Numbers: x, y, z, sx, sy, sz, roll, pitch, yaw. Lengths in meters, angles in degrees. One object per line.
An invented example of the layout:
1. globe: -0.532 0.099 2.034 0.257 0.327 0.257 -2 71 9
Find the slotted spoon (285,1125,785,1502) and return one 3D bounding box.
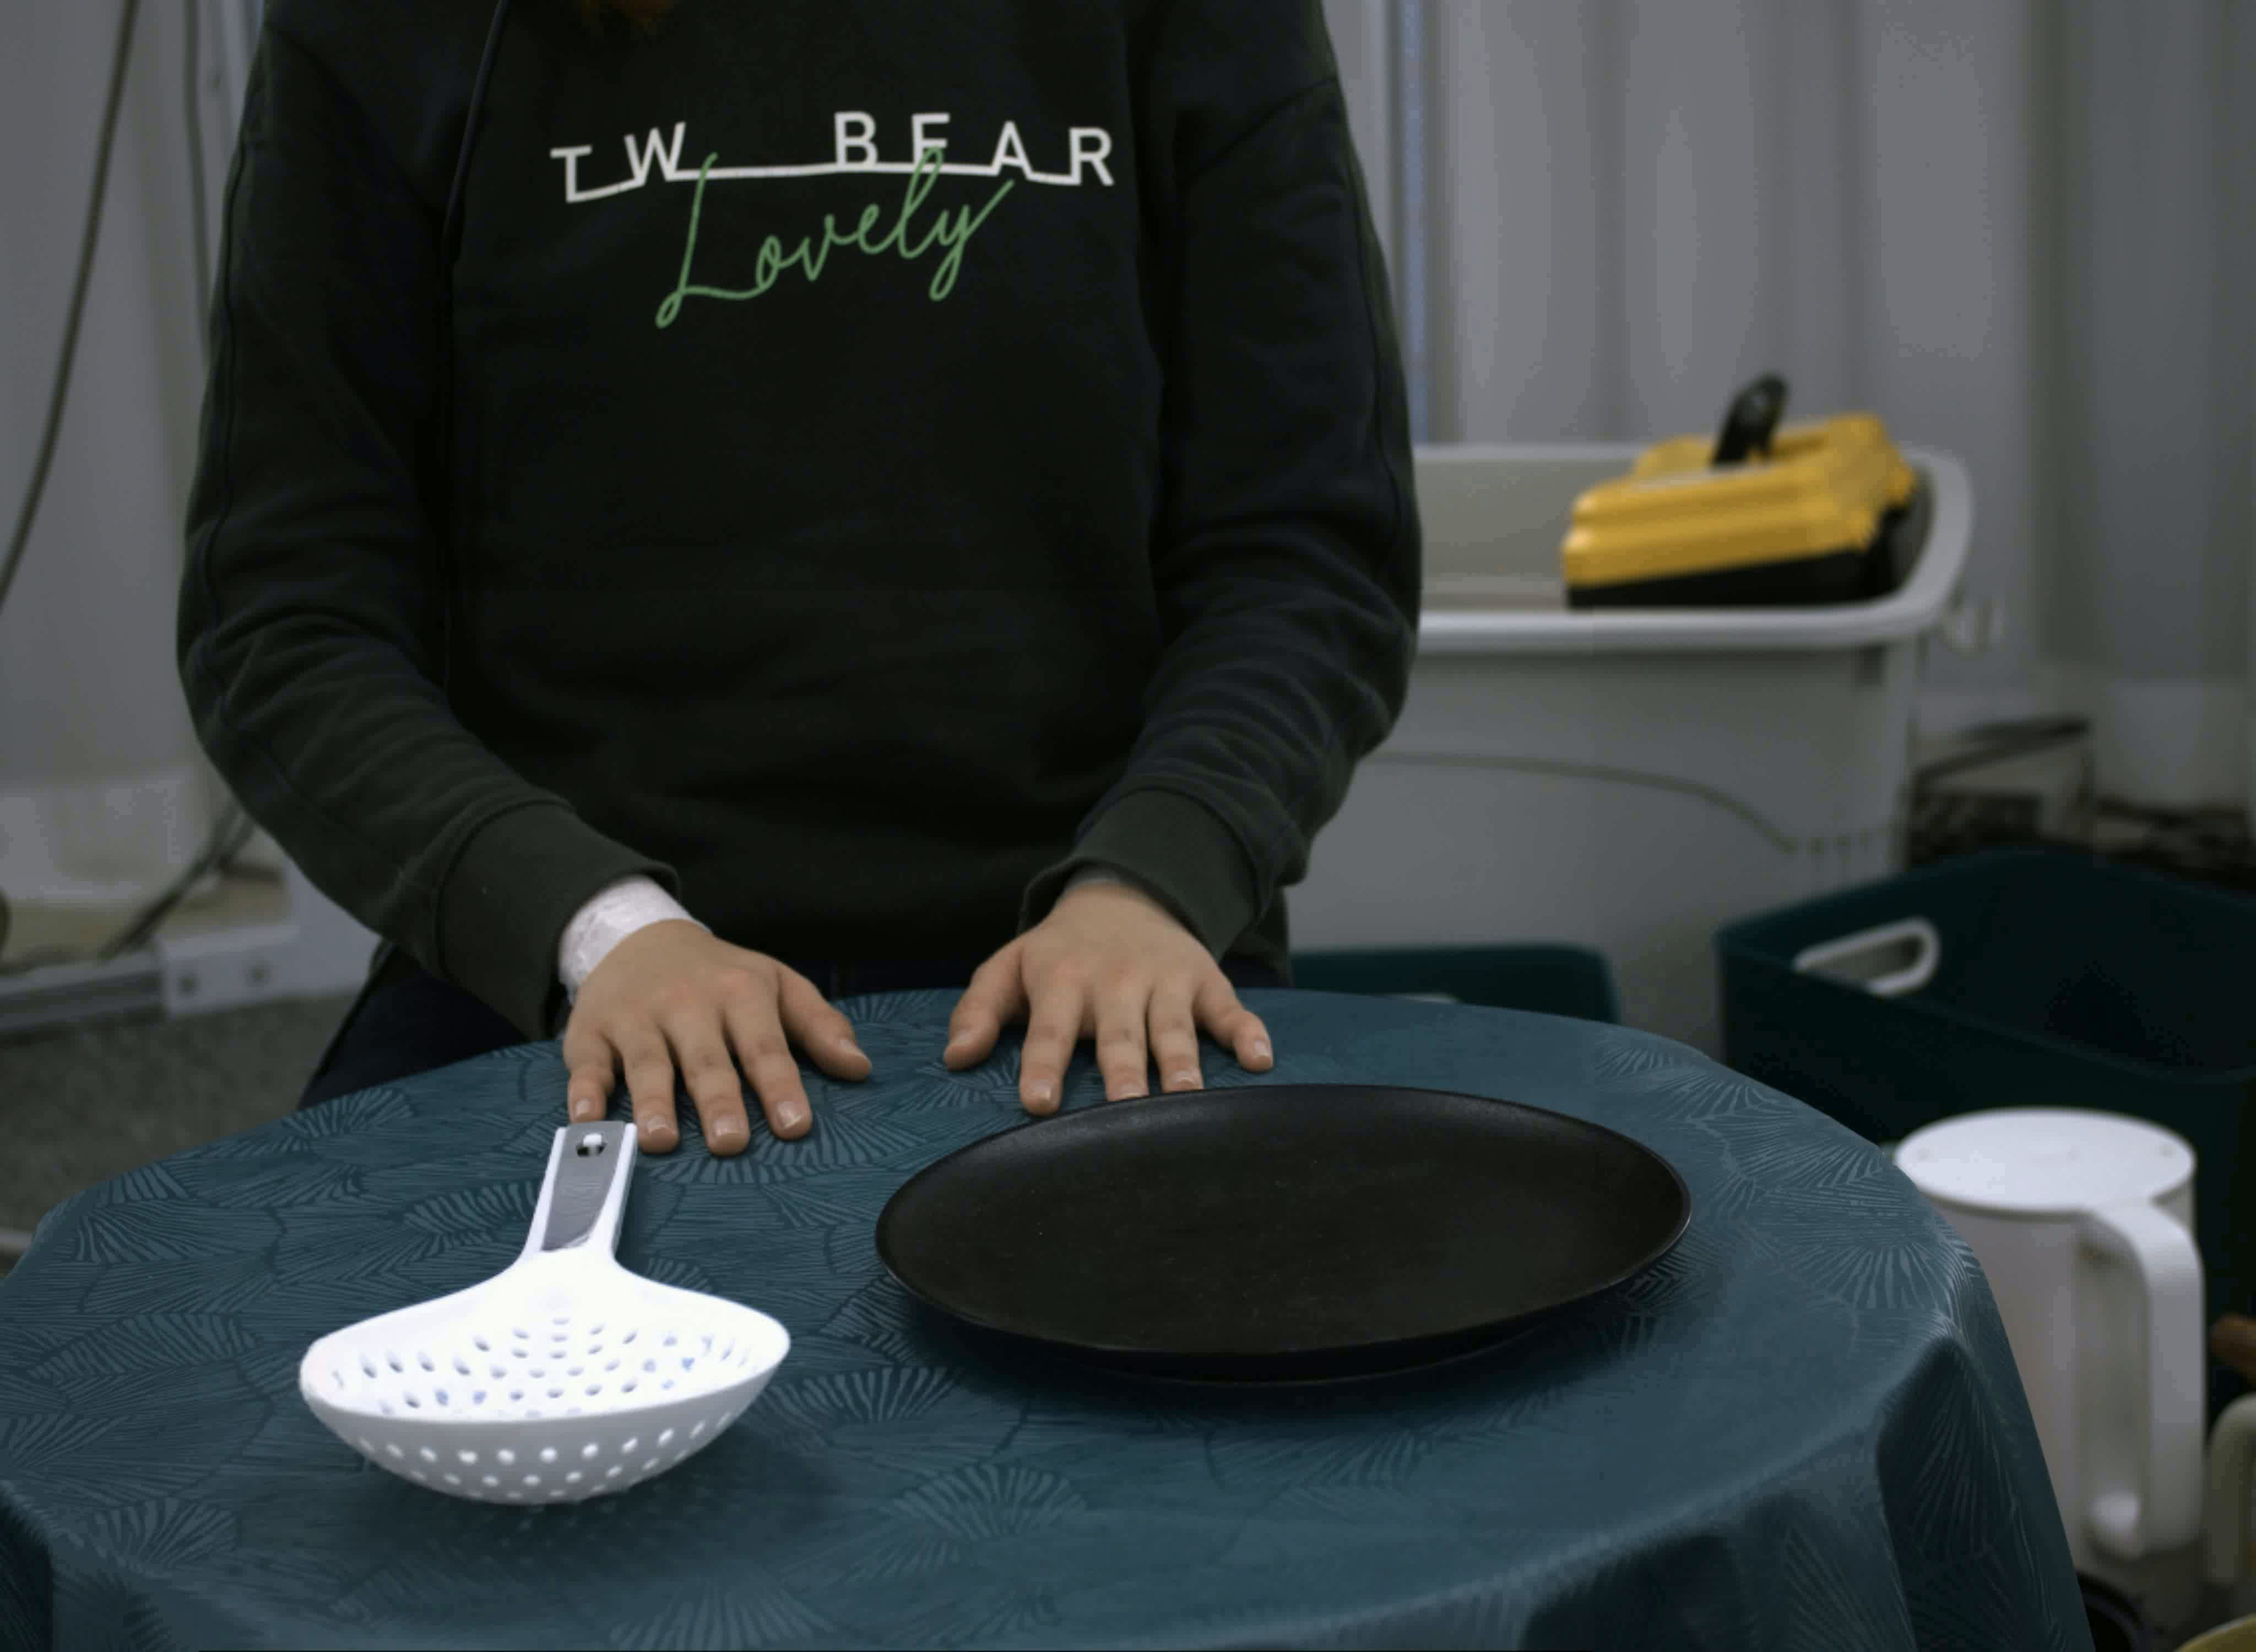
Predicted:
1. slotted spoon: -0.164 0.132 1.592 0.135 0.045 0.352 -1 14 -2

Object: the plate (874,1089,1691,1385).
1. plate: 0.046 0.124 1.625 0.243 0.023 0.246 -3 15 0
